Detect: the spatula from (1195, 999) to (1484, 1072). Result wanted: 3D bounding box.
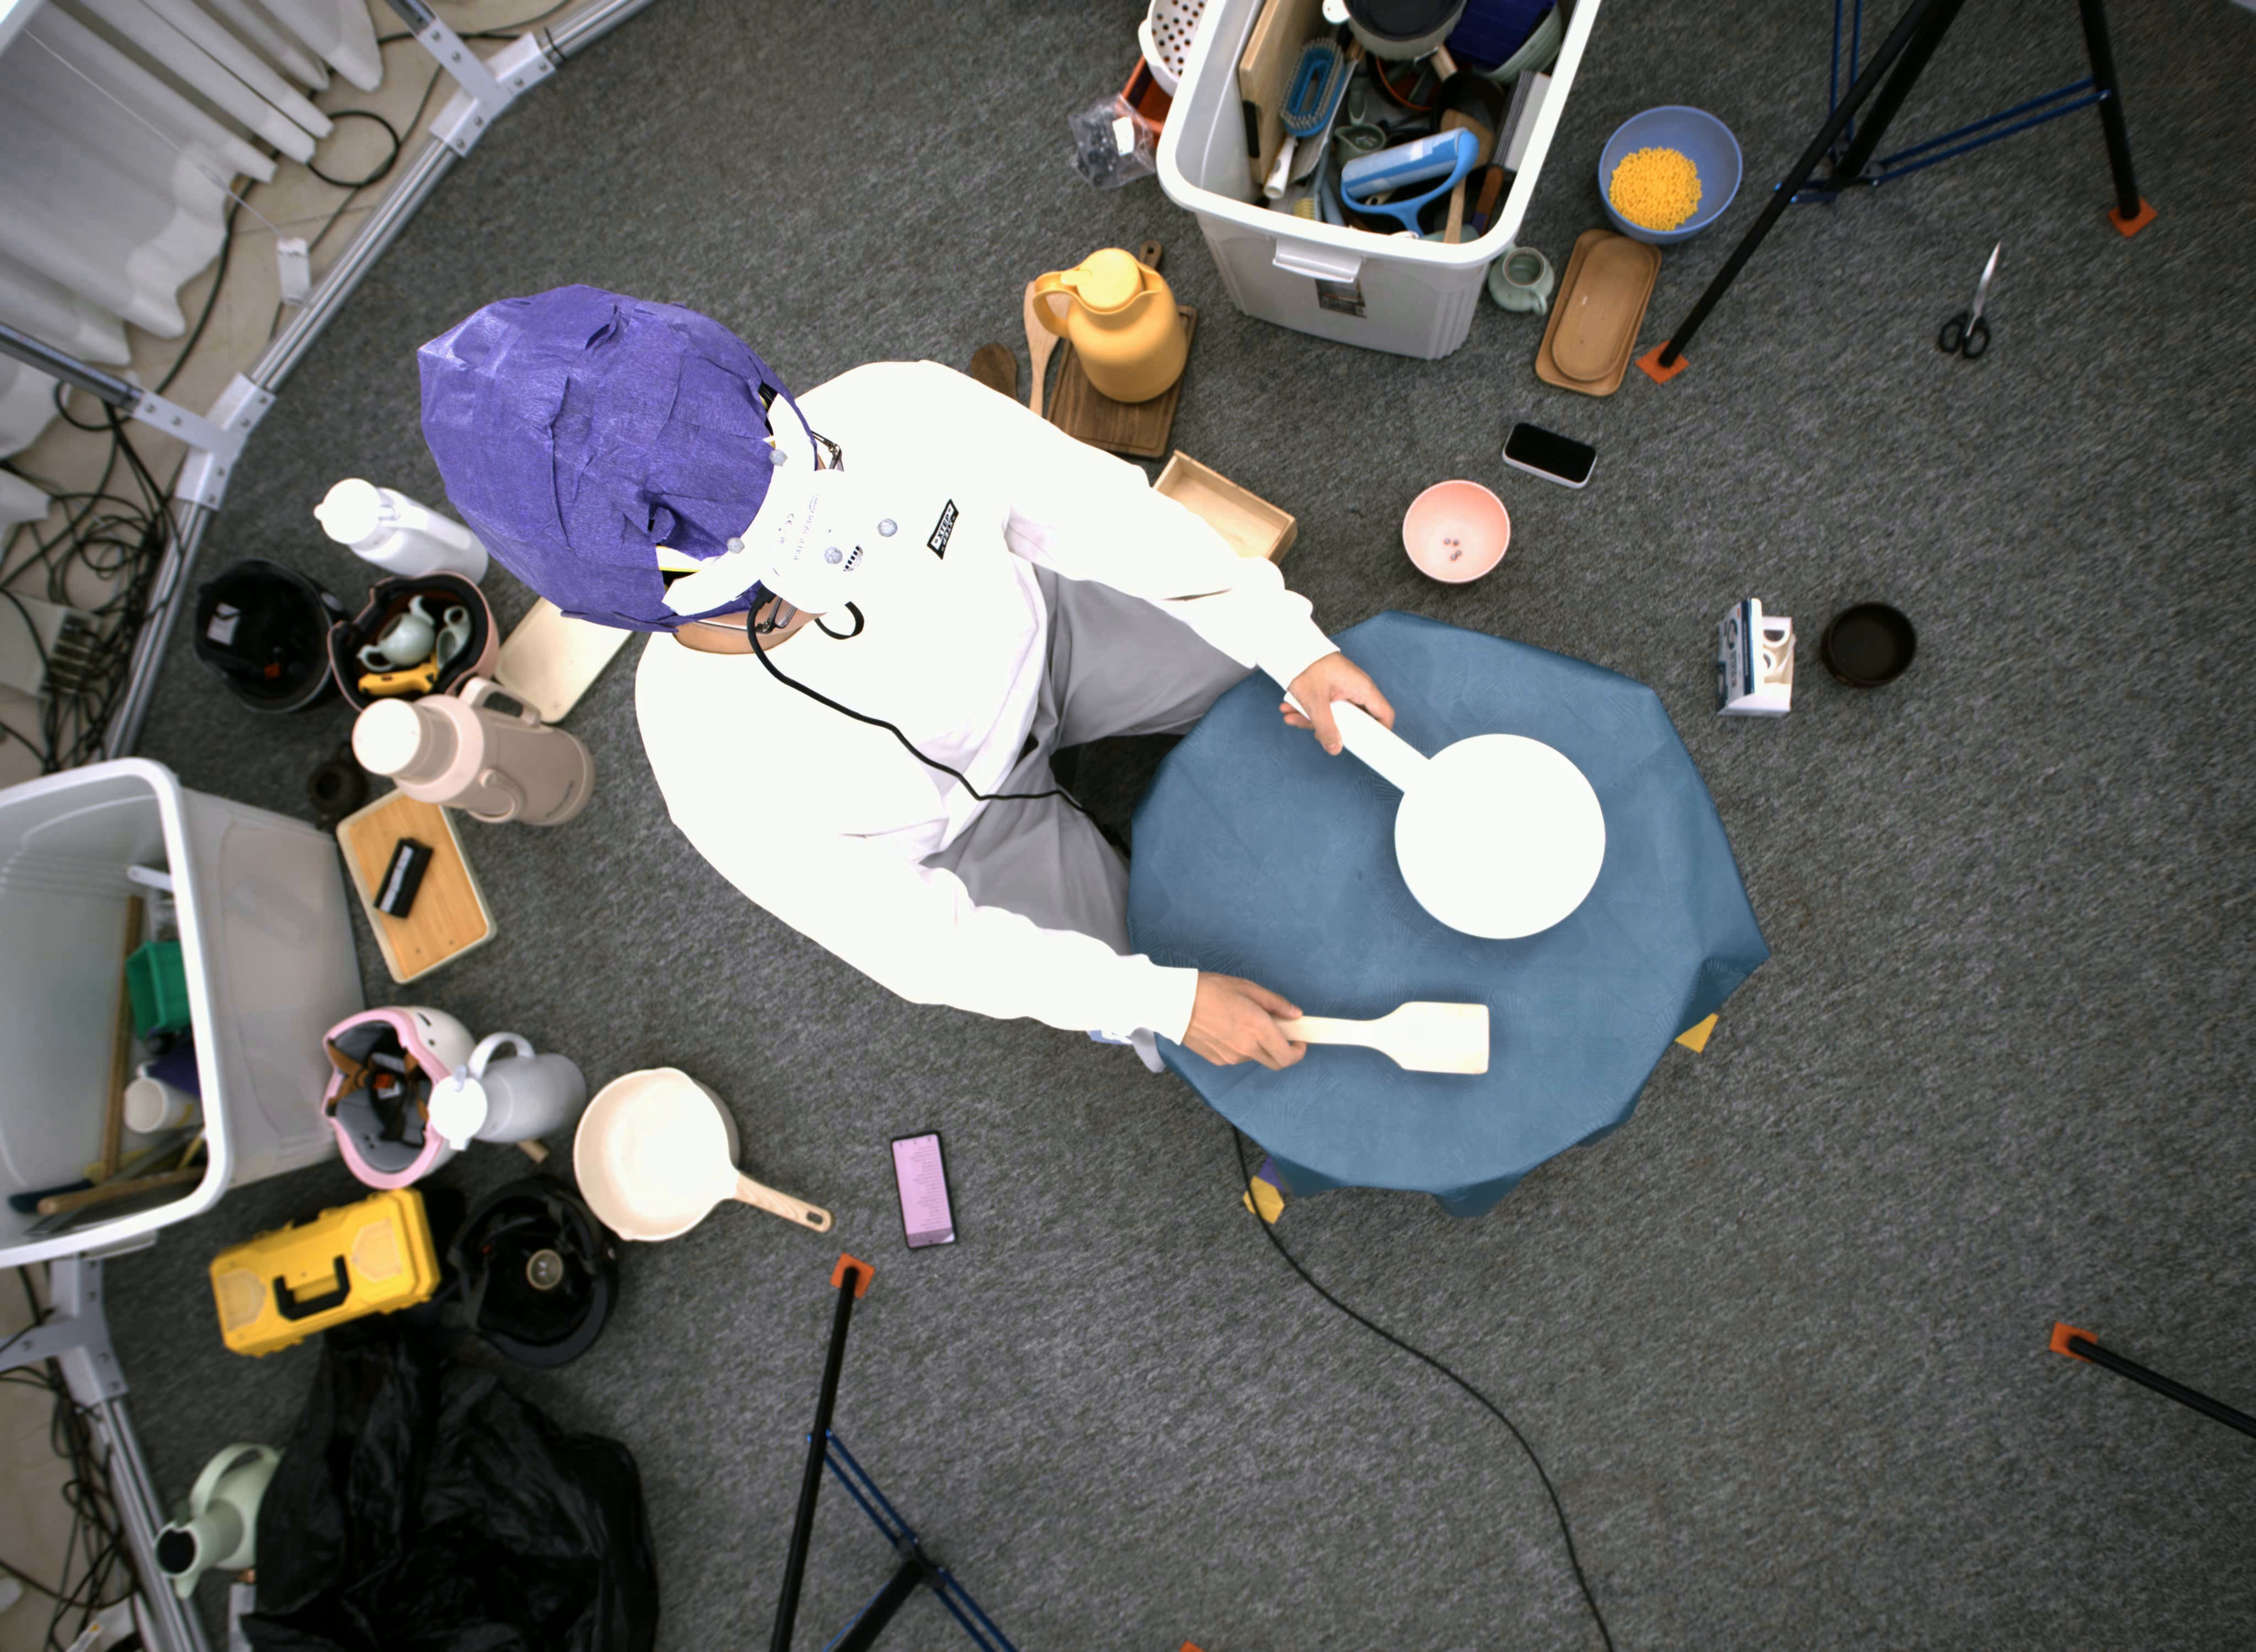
[{"bbox_3d":[0.214,0.206,1.412,0.294,0.011,0.071,2,78,6],"label":"spatula"}]

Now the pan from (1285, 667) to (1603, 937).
[{"bbox_3d":[0.311,-0.035,1.405,0.353,0.102,0.202,38,94,10],"label":"pan"}]
